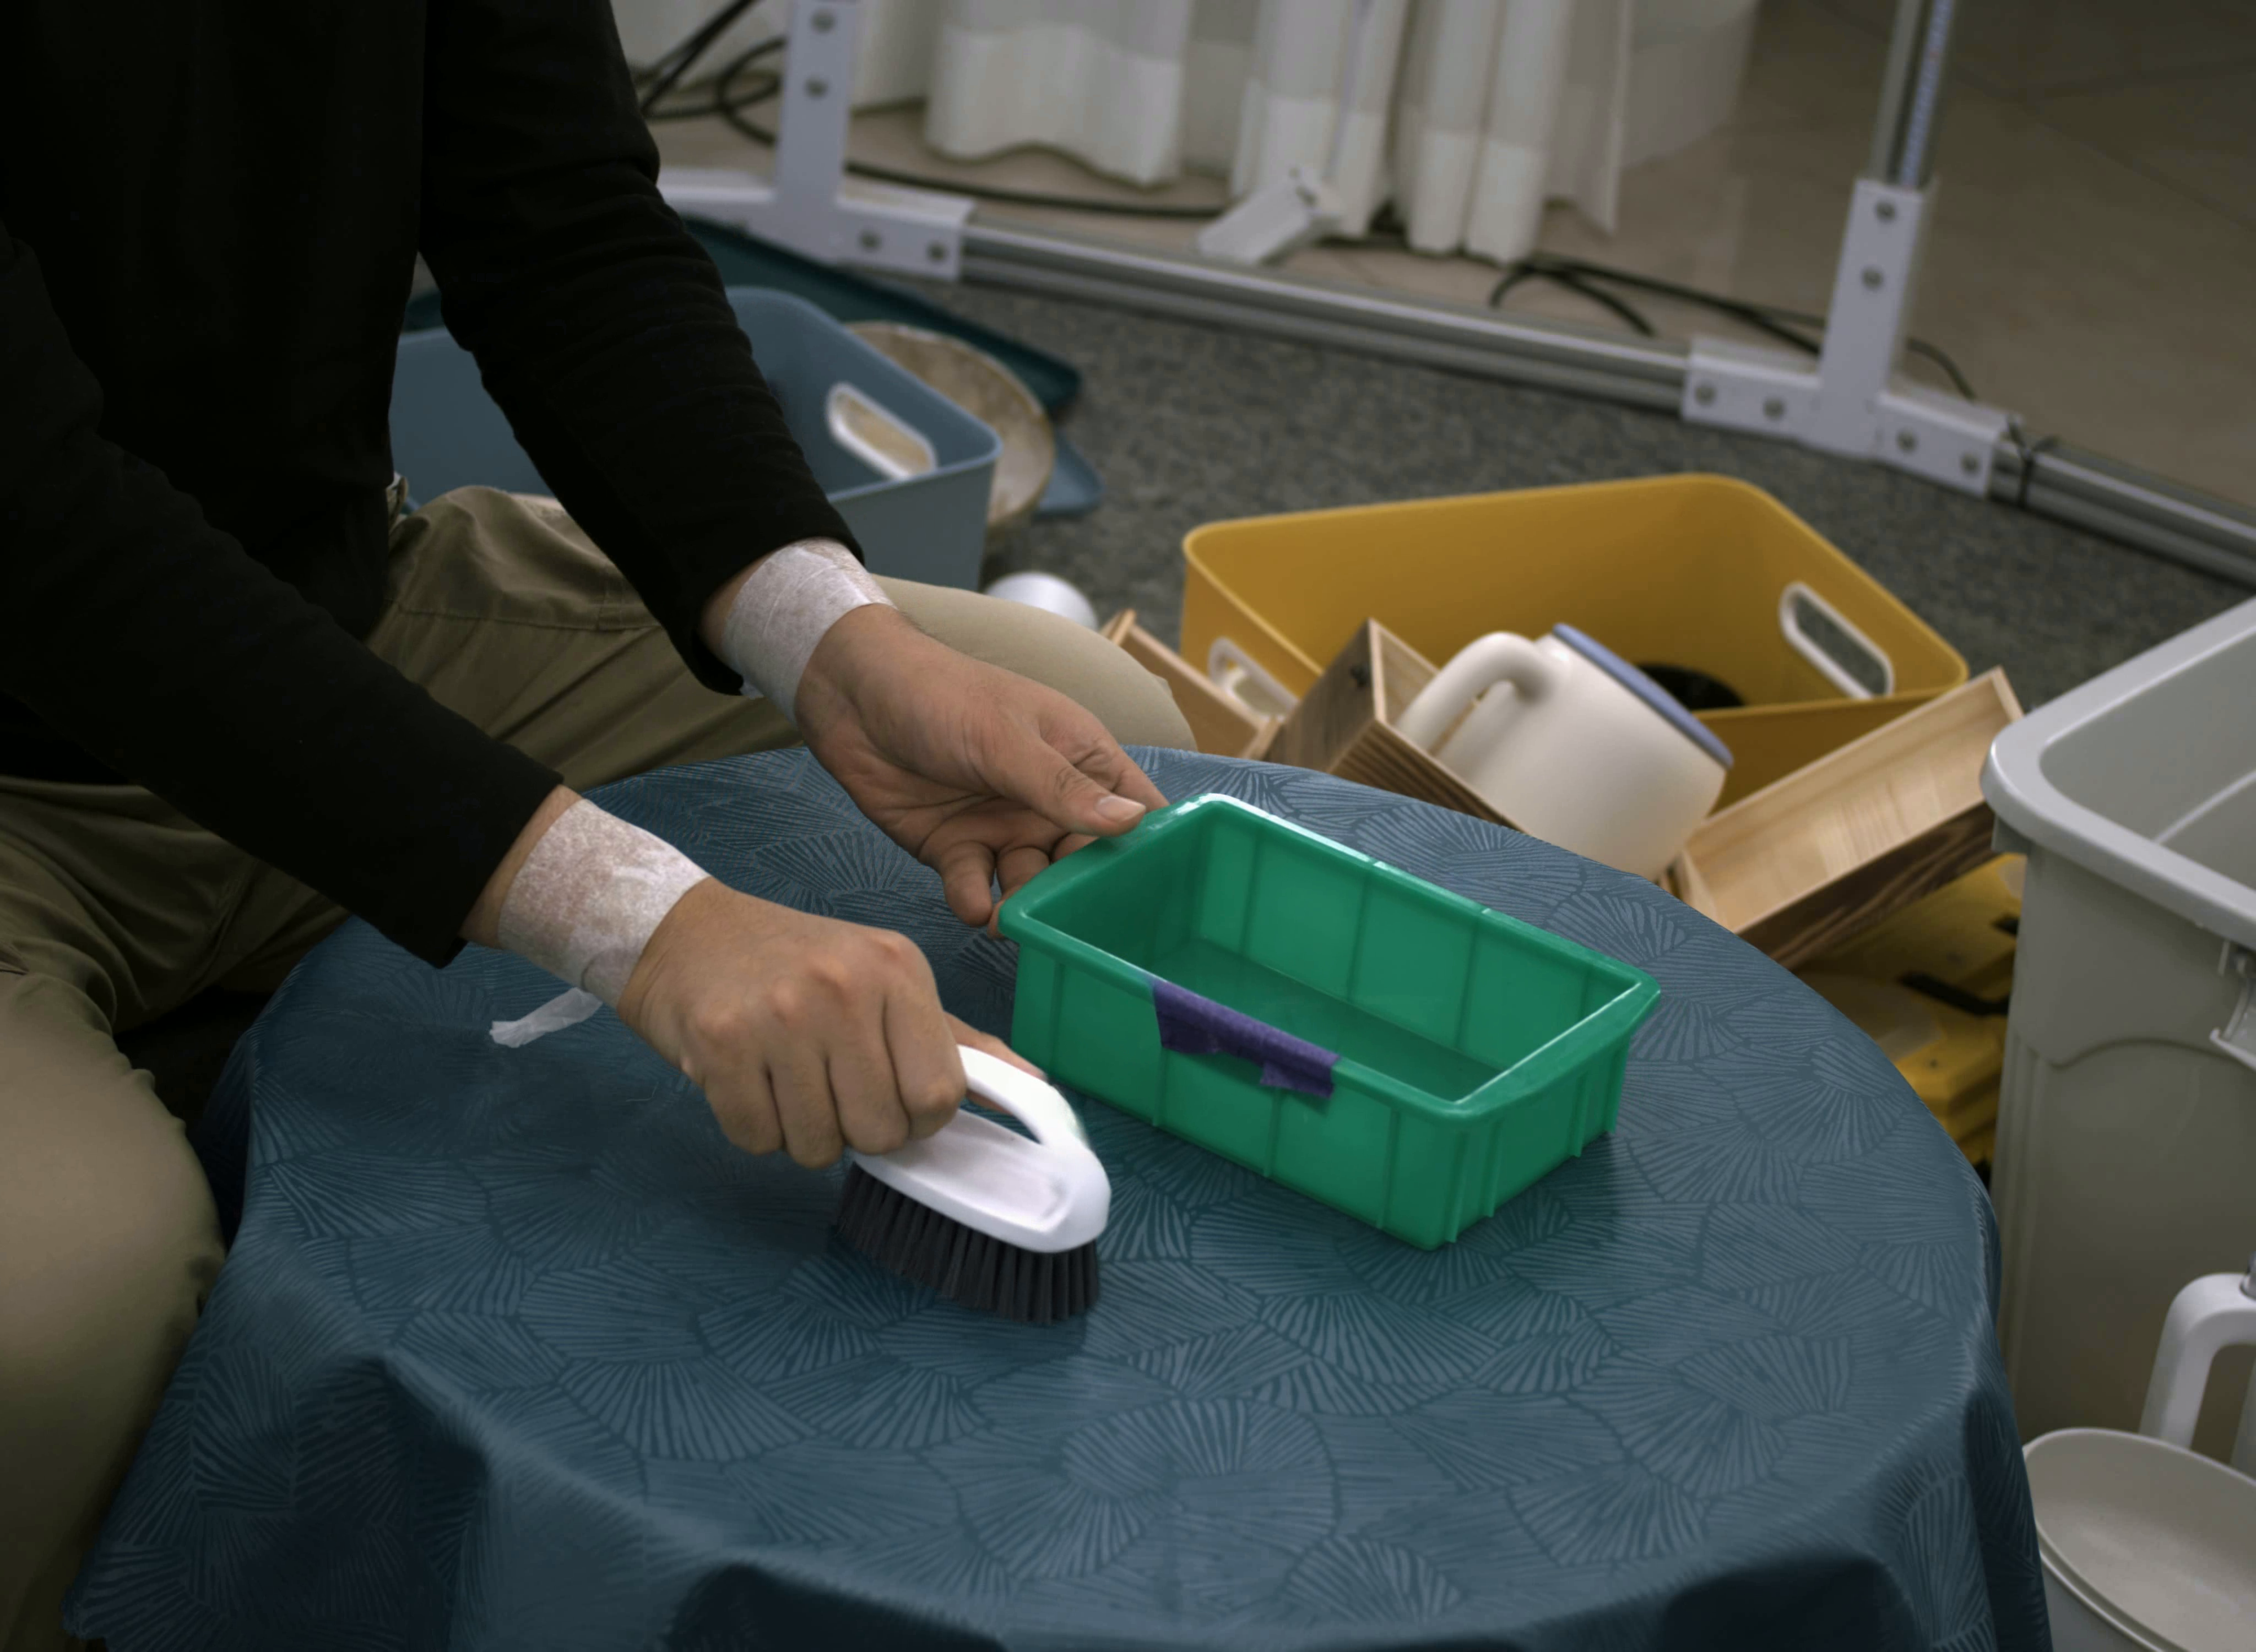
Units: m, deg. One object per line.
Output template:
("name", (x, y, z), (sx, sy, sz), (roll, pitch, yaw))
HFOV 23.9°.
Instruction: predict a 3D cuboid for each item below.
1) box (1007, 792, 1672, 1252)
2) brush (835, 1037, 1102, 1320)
("box", (0.071, 0.068, 1.858), (0.211, 0.065, 0.138), (23, 33, 28))
("brush", (-0.051, 0.109, 1.739), (0.100, 0.072, 0.050), (26, 33, 34))
